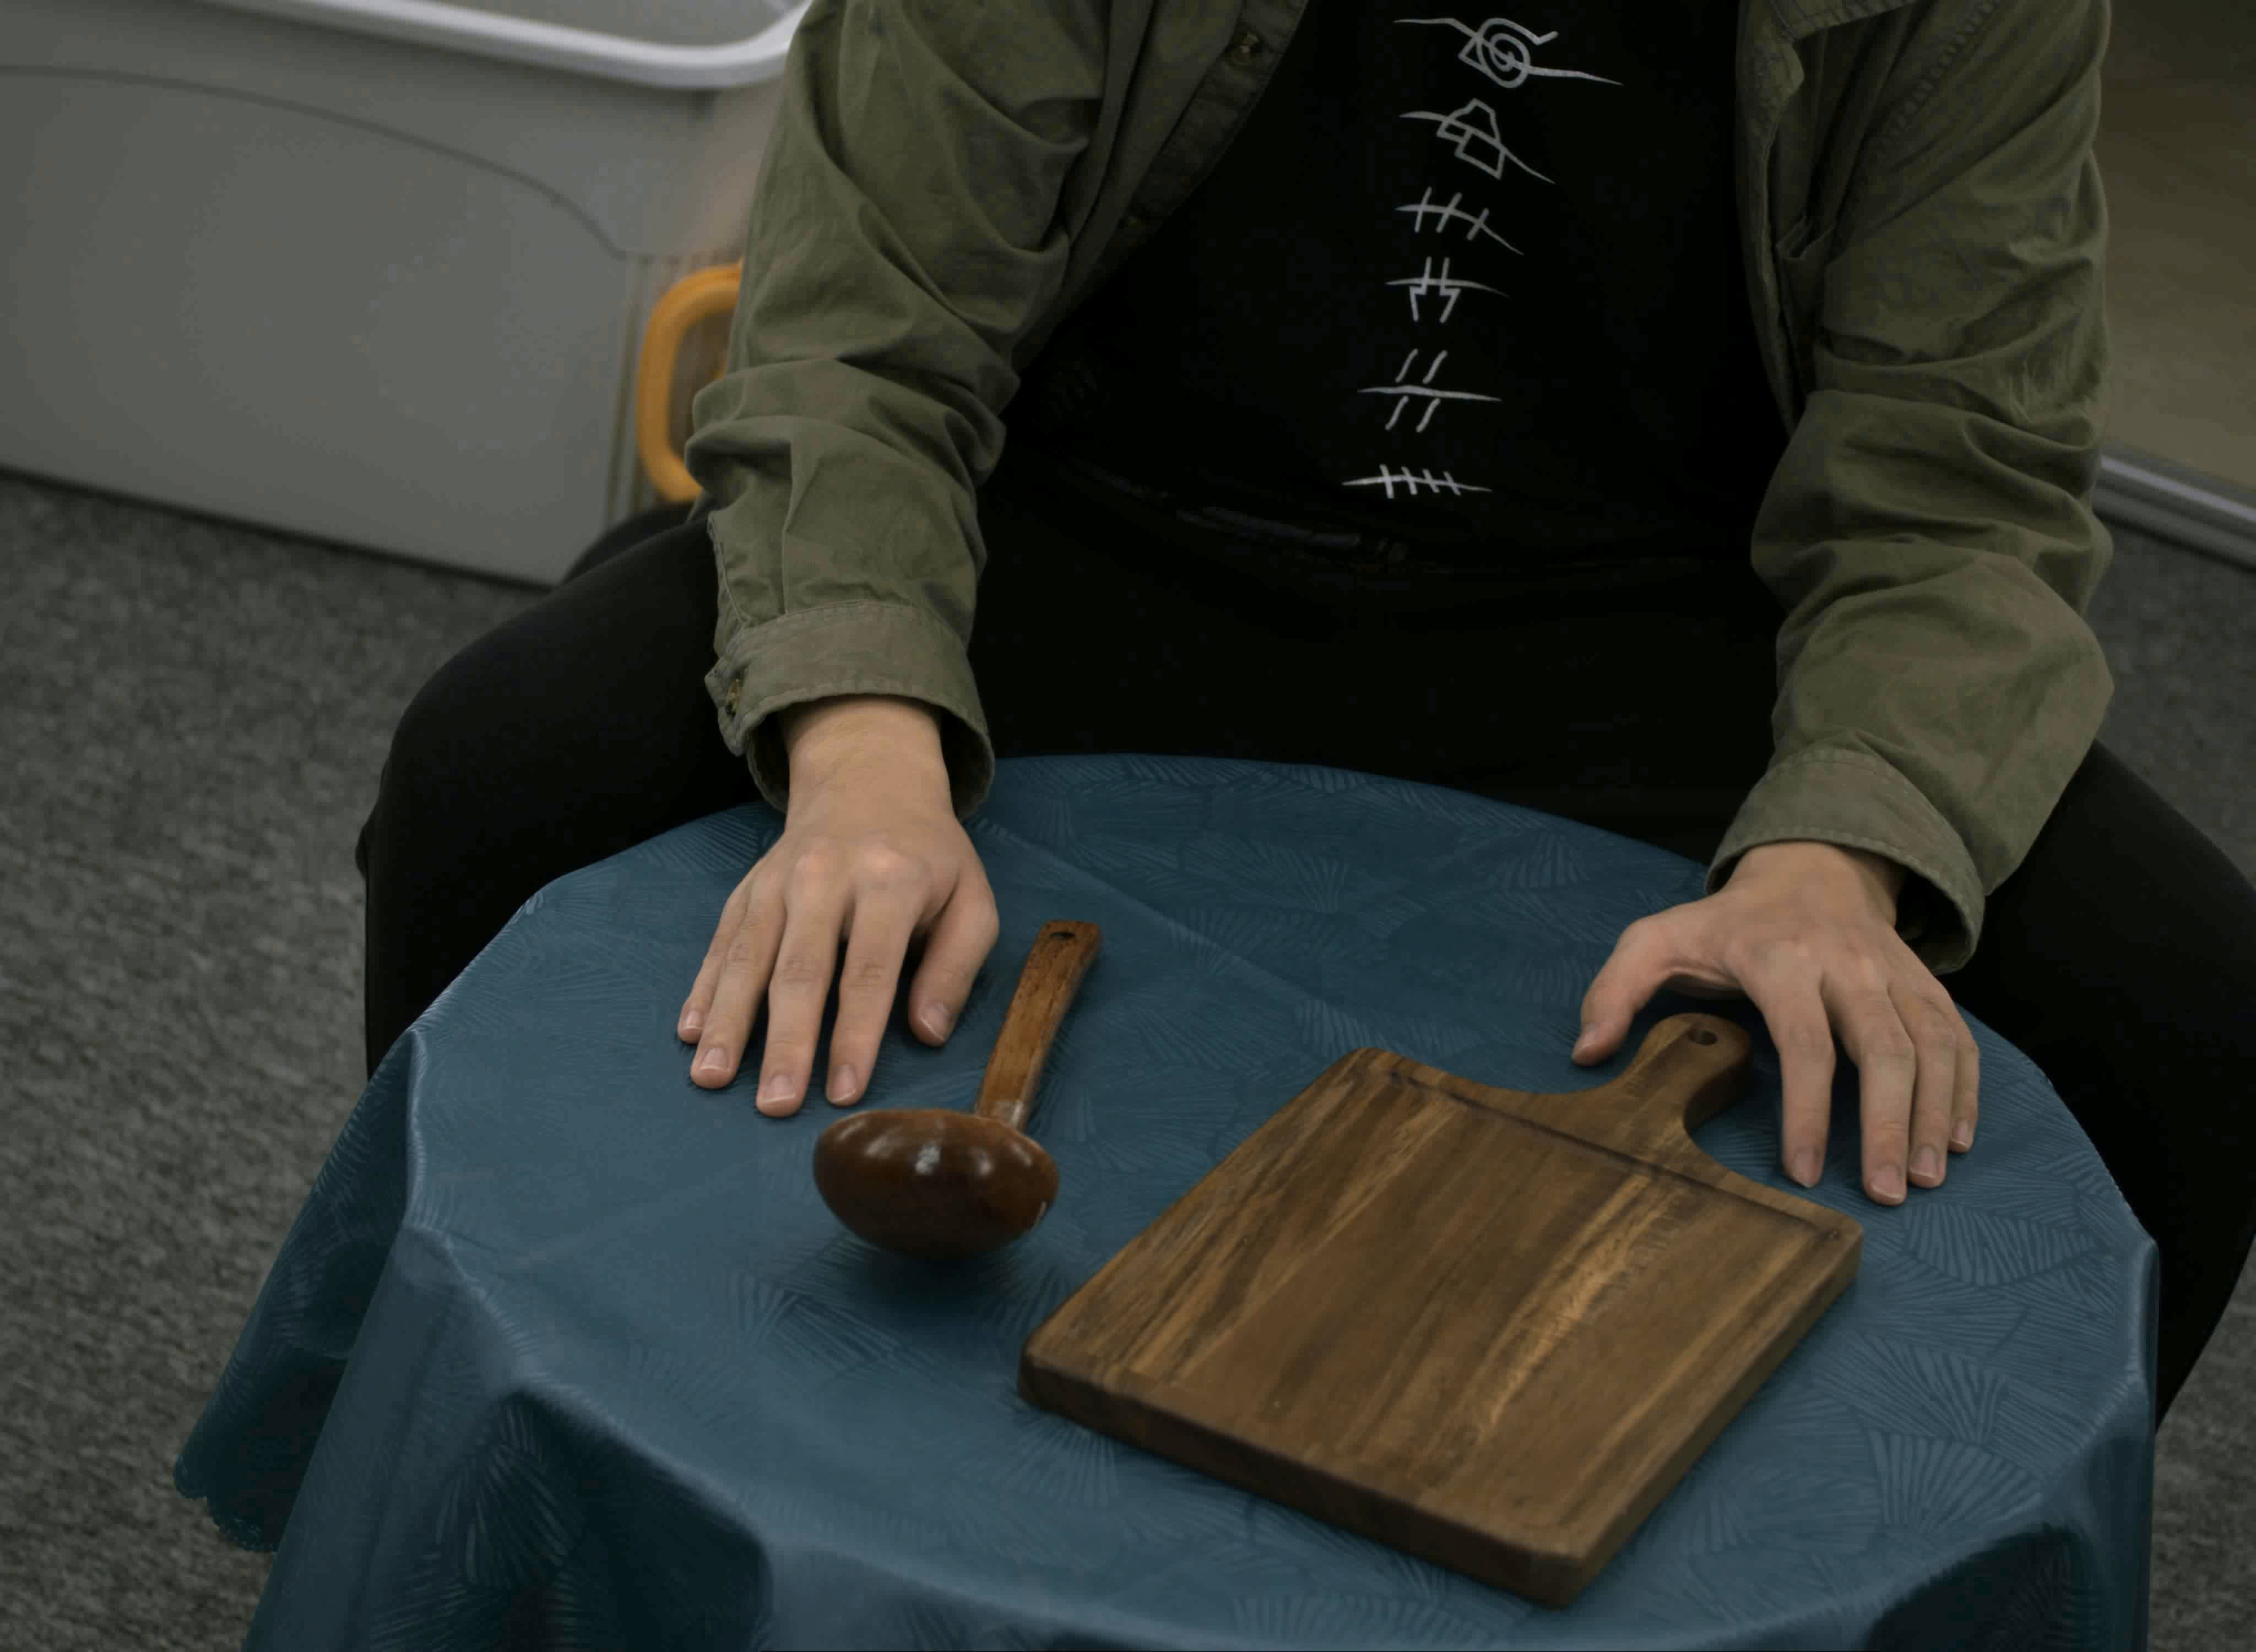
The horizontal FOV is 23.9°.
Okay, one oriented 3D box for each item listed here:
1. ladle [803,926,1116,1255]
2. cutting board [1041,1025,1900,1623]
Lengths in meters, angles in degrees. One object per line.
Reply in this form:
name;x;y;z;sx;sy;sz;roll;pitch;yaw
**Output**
ladle;-0.045;0.069;1.814;0.082;0.076;0.275;6;26;10
cutting board;0.140;0.143;1.766;0.202;0.023;0.351;20;30;24
